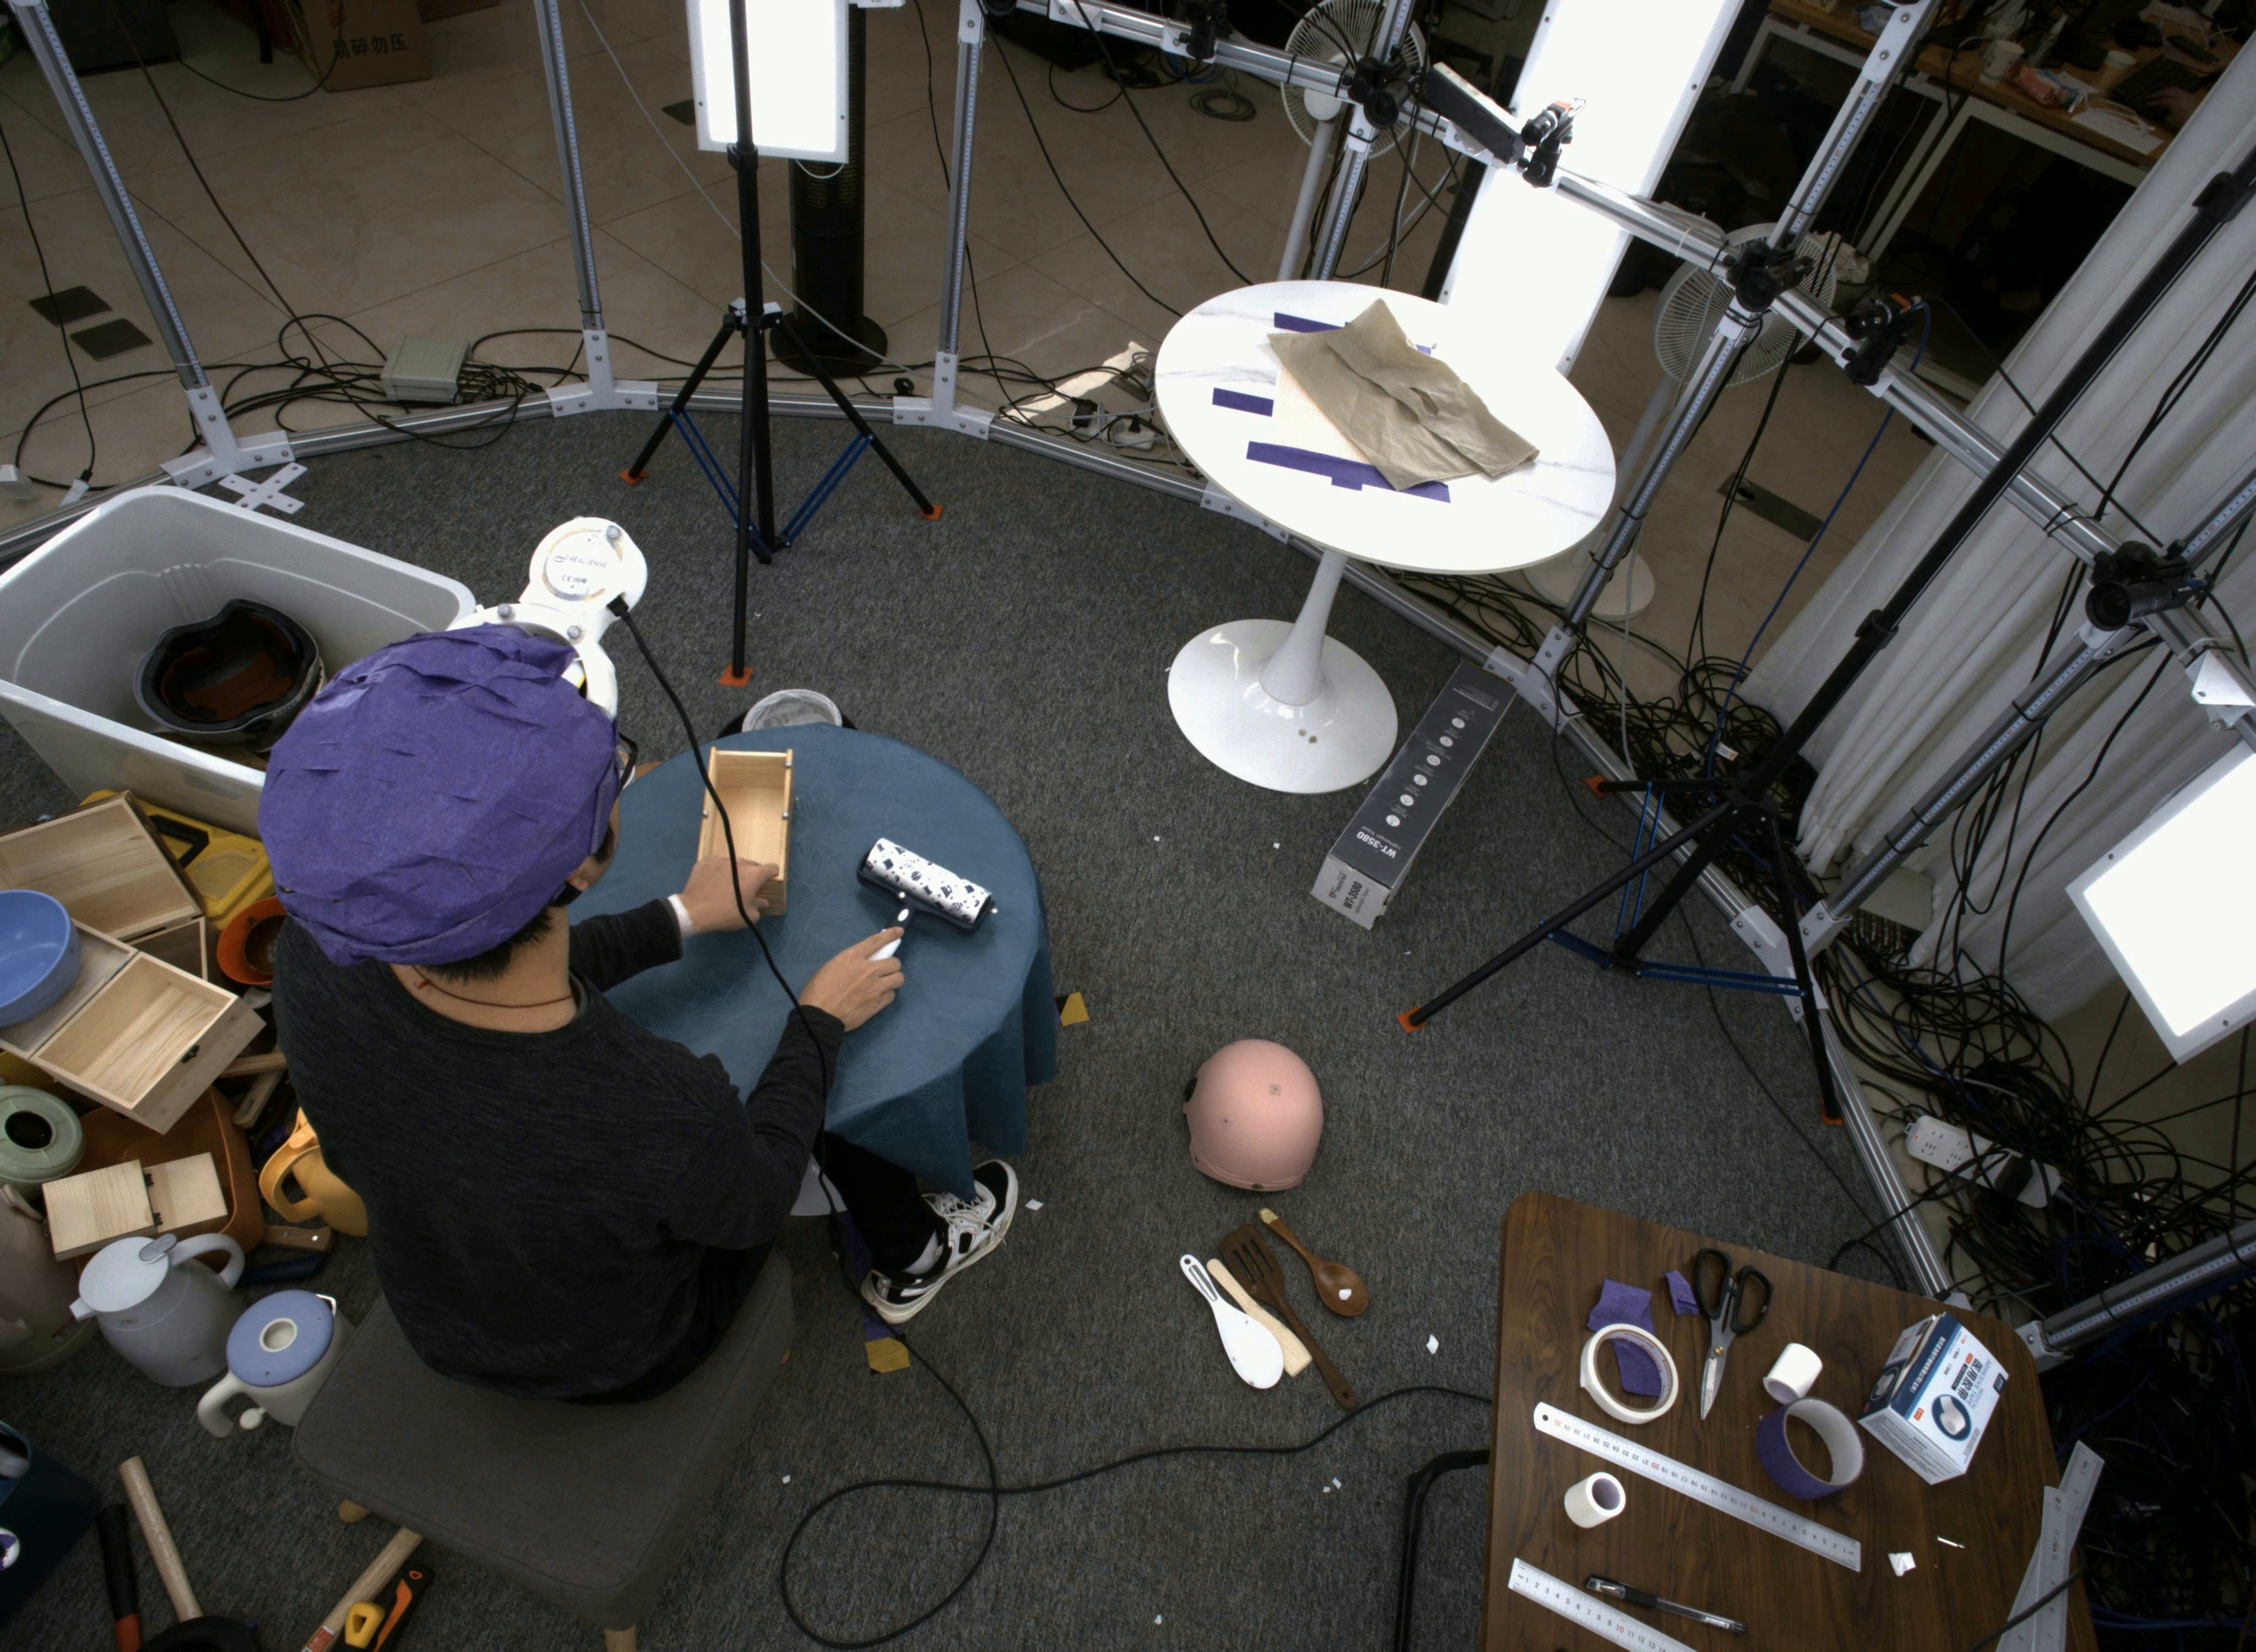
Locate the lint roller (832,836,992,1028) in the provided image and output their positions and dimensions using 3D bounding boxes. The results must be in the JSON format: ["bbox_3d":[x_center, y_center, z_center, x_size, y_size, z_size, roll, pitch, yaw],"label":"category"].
[{"bbox_3d":[-0.294,0.140,1.602,0.176,0.051,0.245,29,53,-3],"label":"lint roller"}]

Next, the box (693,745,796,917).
[{"bbox_3d":[-0.486,0.004,1.648,0.107,0.082,0.207,2,54,-12],"label":"box"}]
